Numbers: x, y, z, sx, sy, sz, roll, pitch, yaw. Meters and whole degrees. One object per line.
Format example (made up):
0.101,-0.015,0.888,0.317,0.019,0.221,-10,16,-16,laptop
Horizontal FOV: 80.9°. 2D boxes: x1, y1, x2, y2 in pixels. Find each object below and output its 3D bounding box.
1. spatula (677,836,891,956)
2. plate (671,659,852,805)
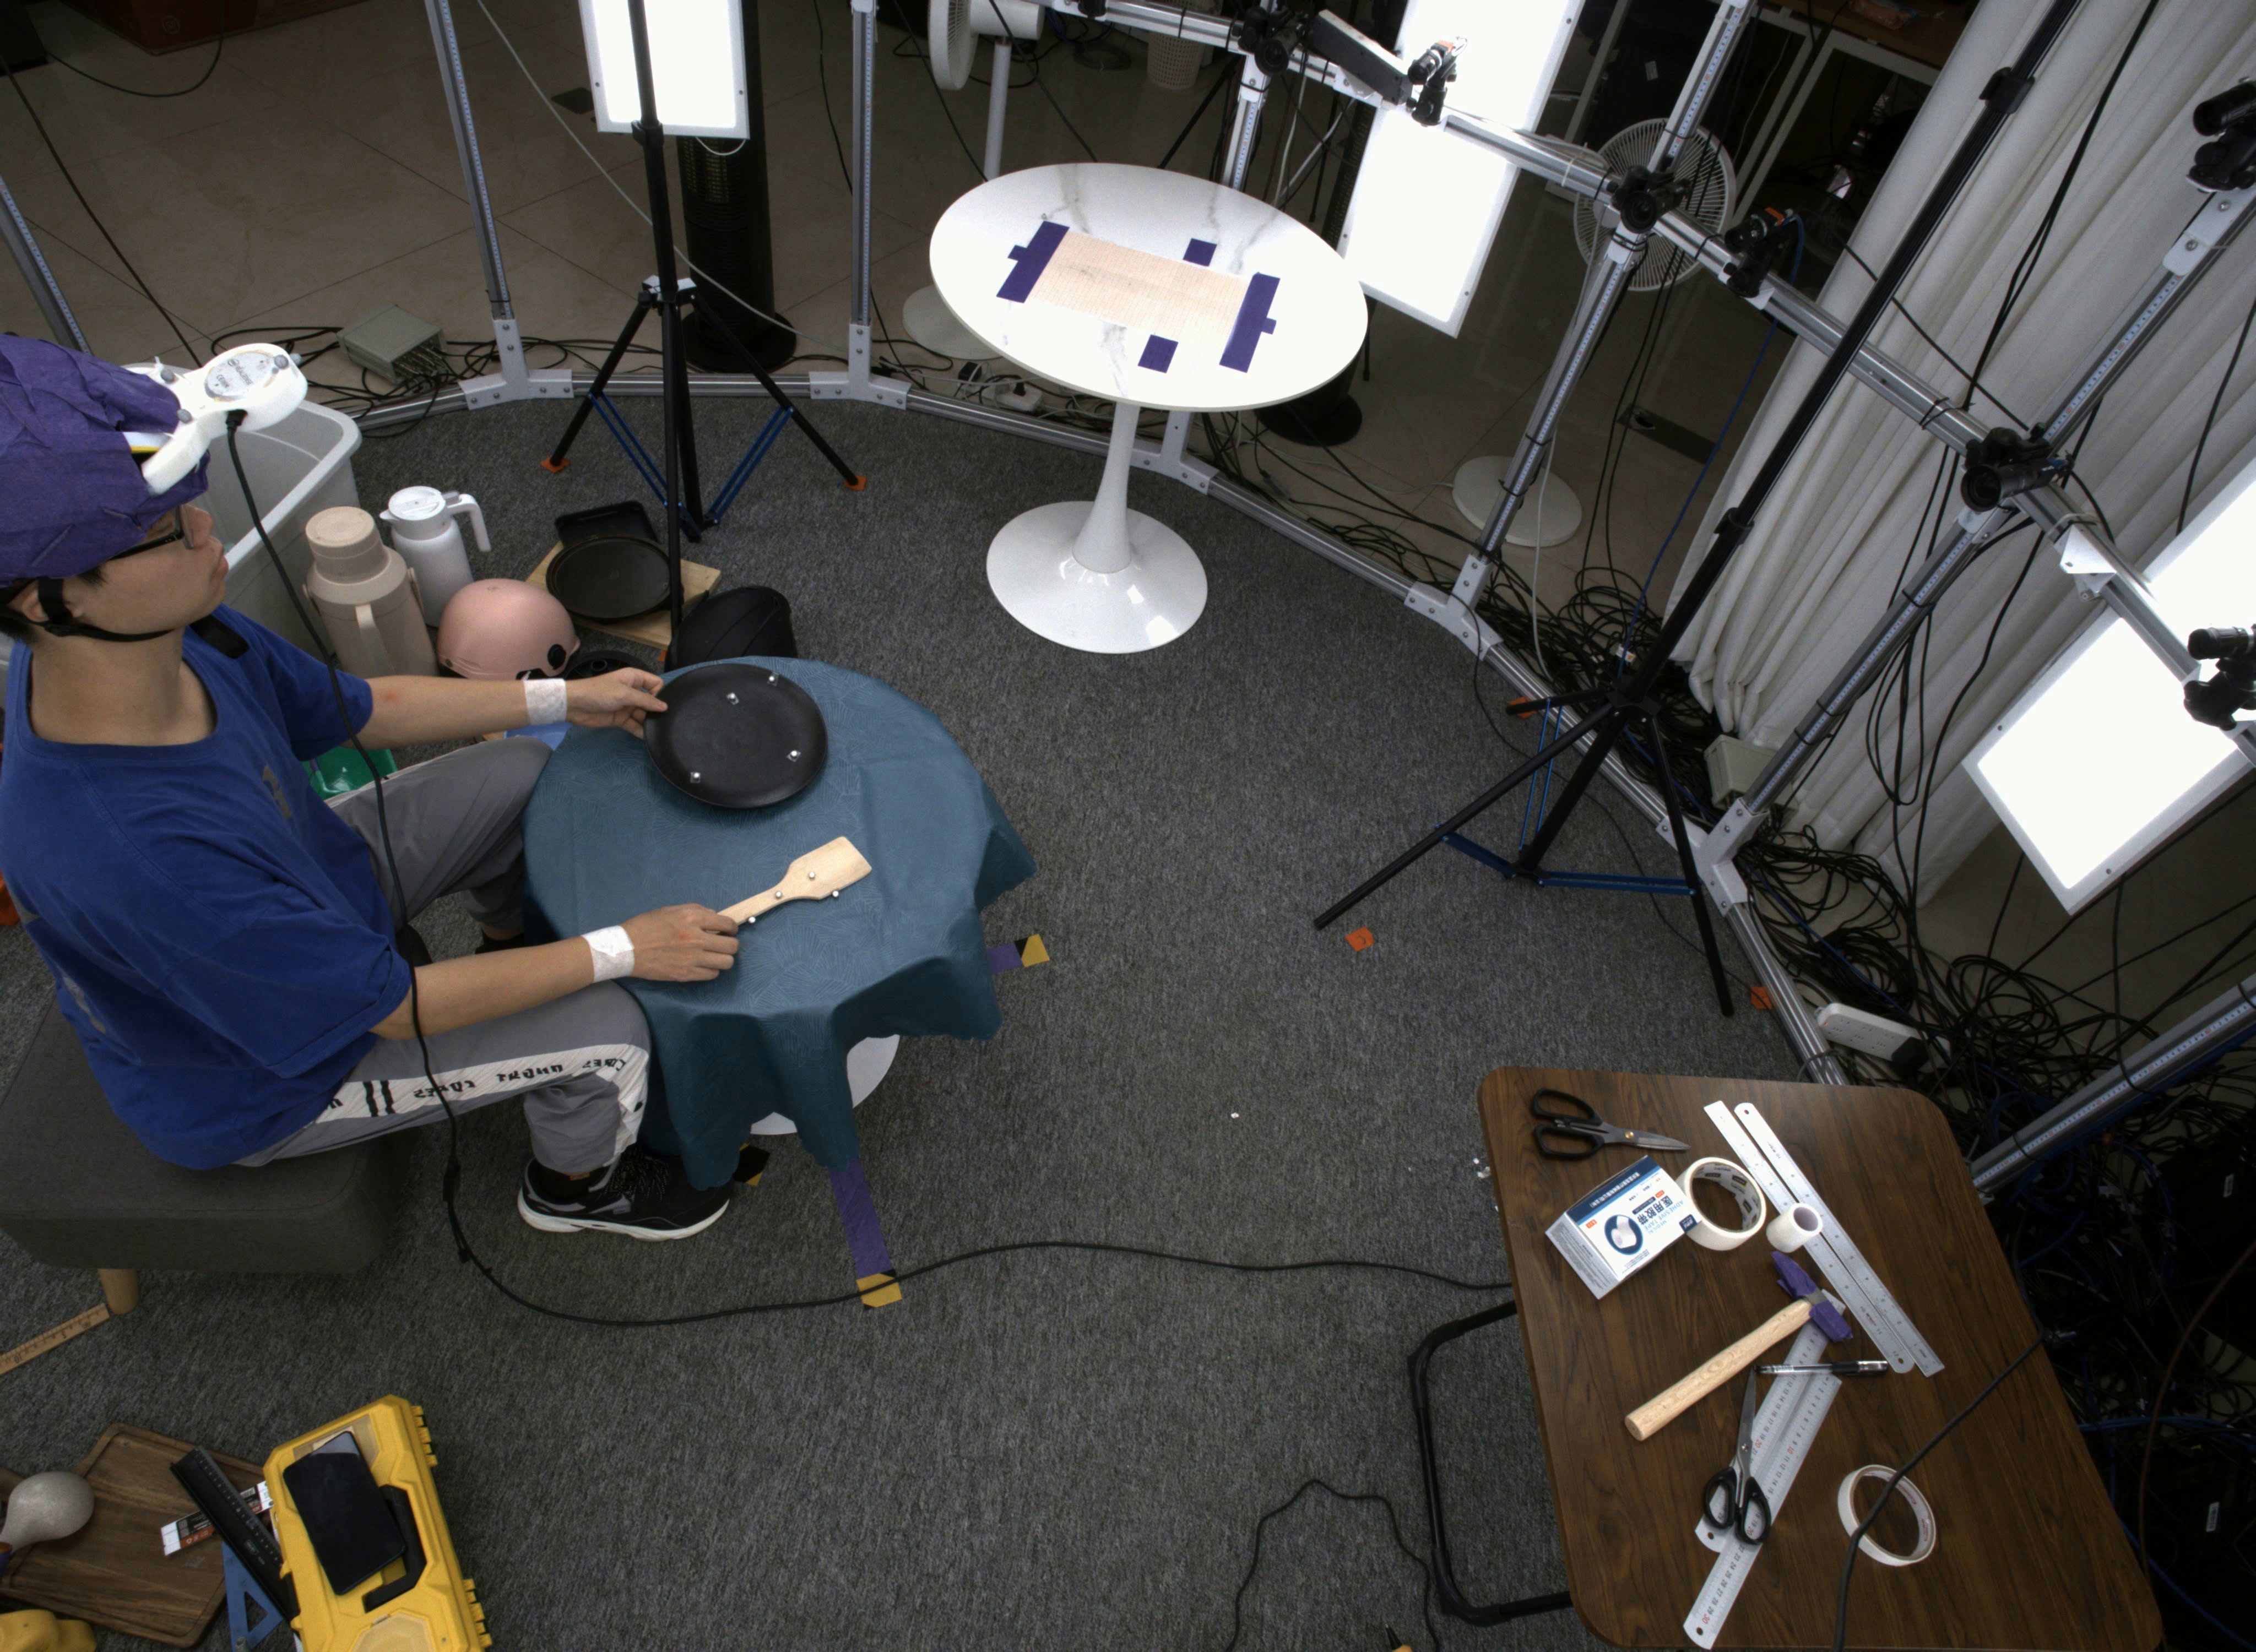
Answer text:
-0.438,0.092,1.648,0.294,0.011,0.070,-28,65,-35,spatula
-0.502,-0.127,1.775,0.246,0.023,0.240,12,55,-16,plate
